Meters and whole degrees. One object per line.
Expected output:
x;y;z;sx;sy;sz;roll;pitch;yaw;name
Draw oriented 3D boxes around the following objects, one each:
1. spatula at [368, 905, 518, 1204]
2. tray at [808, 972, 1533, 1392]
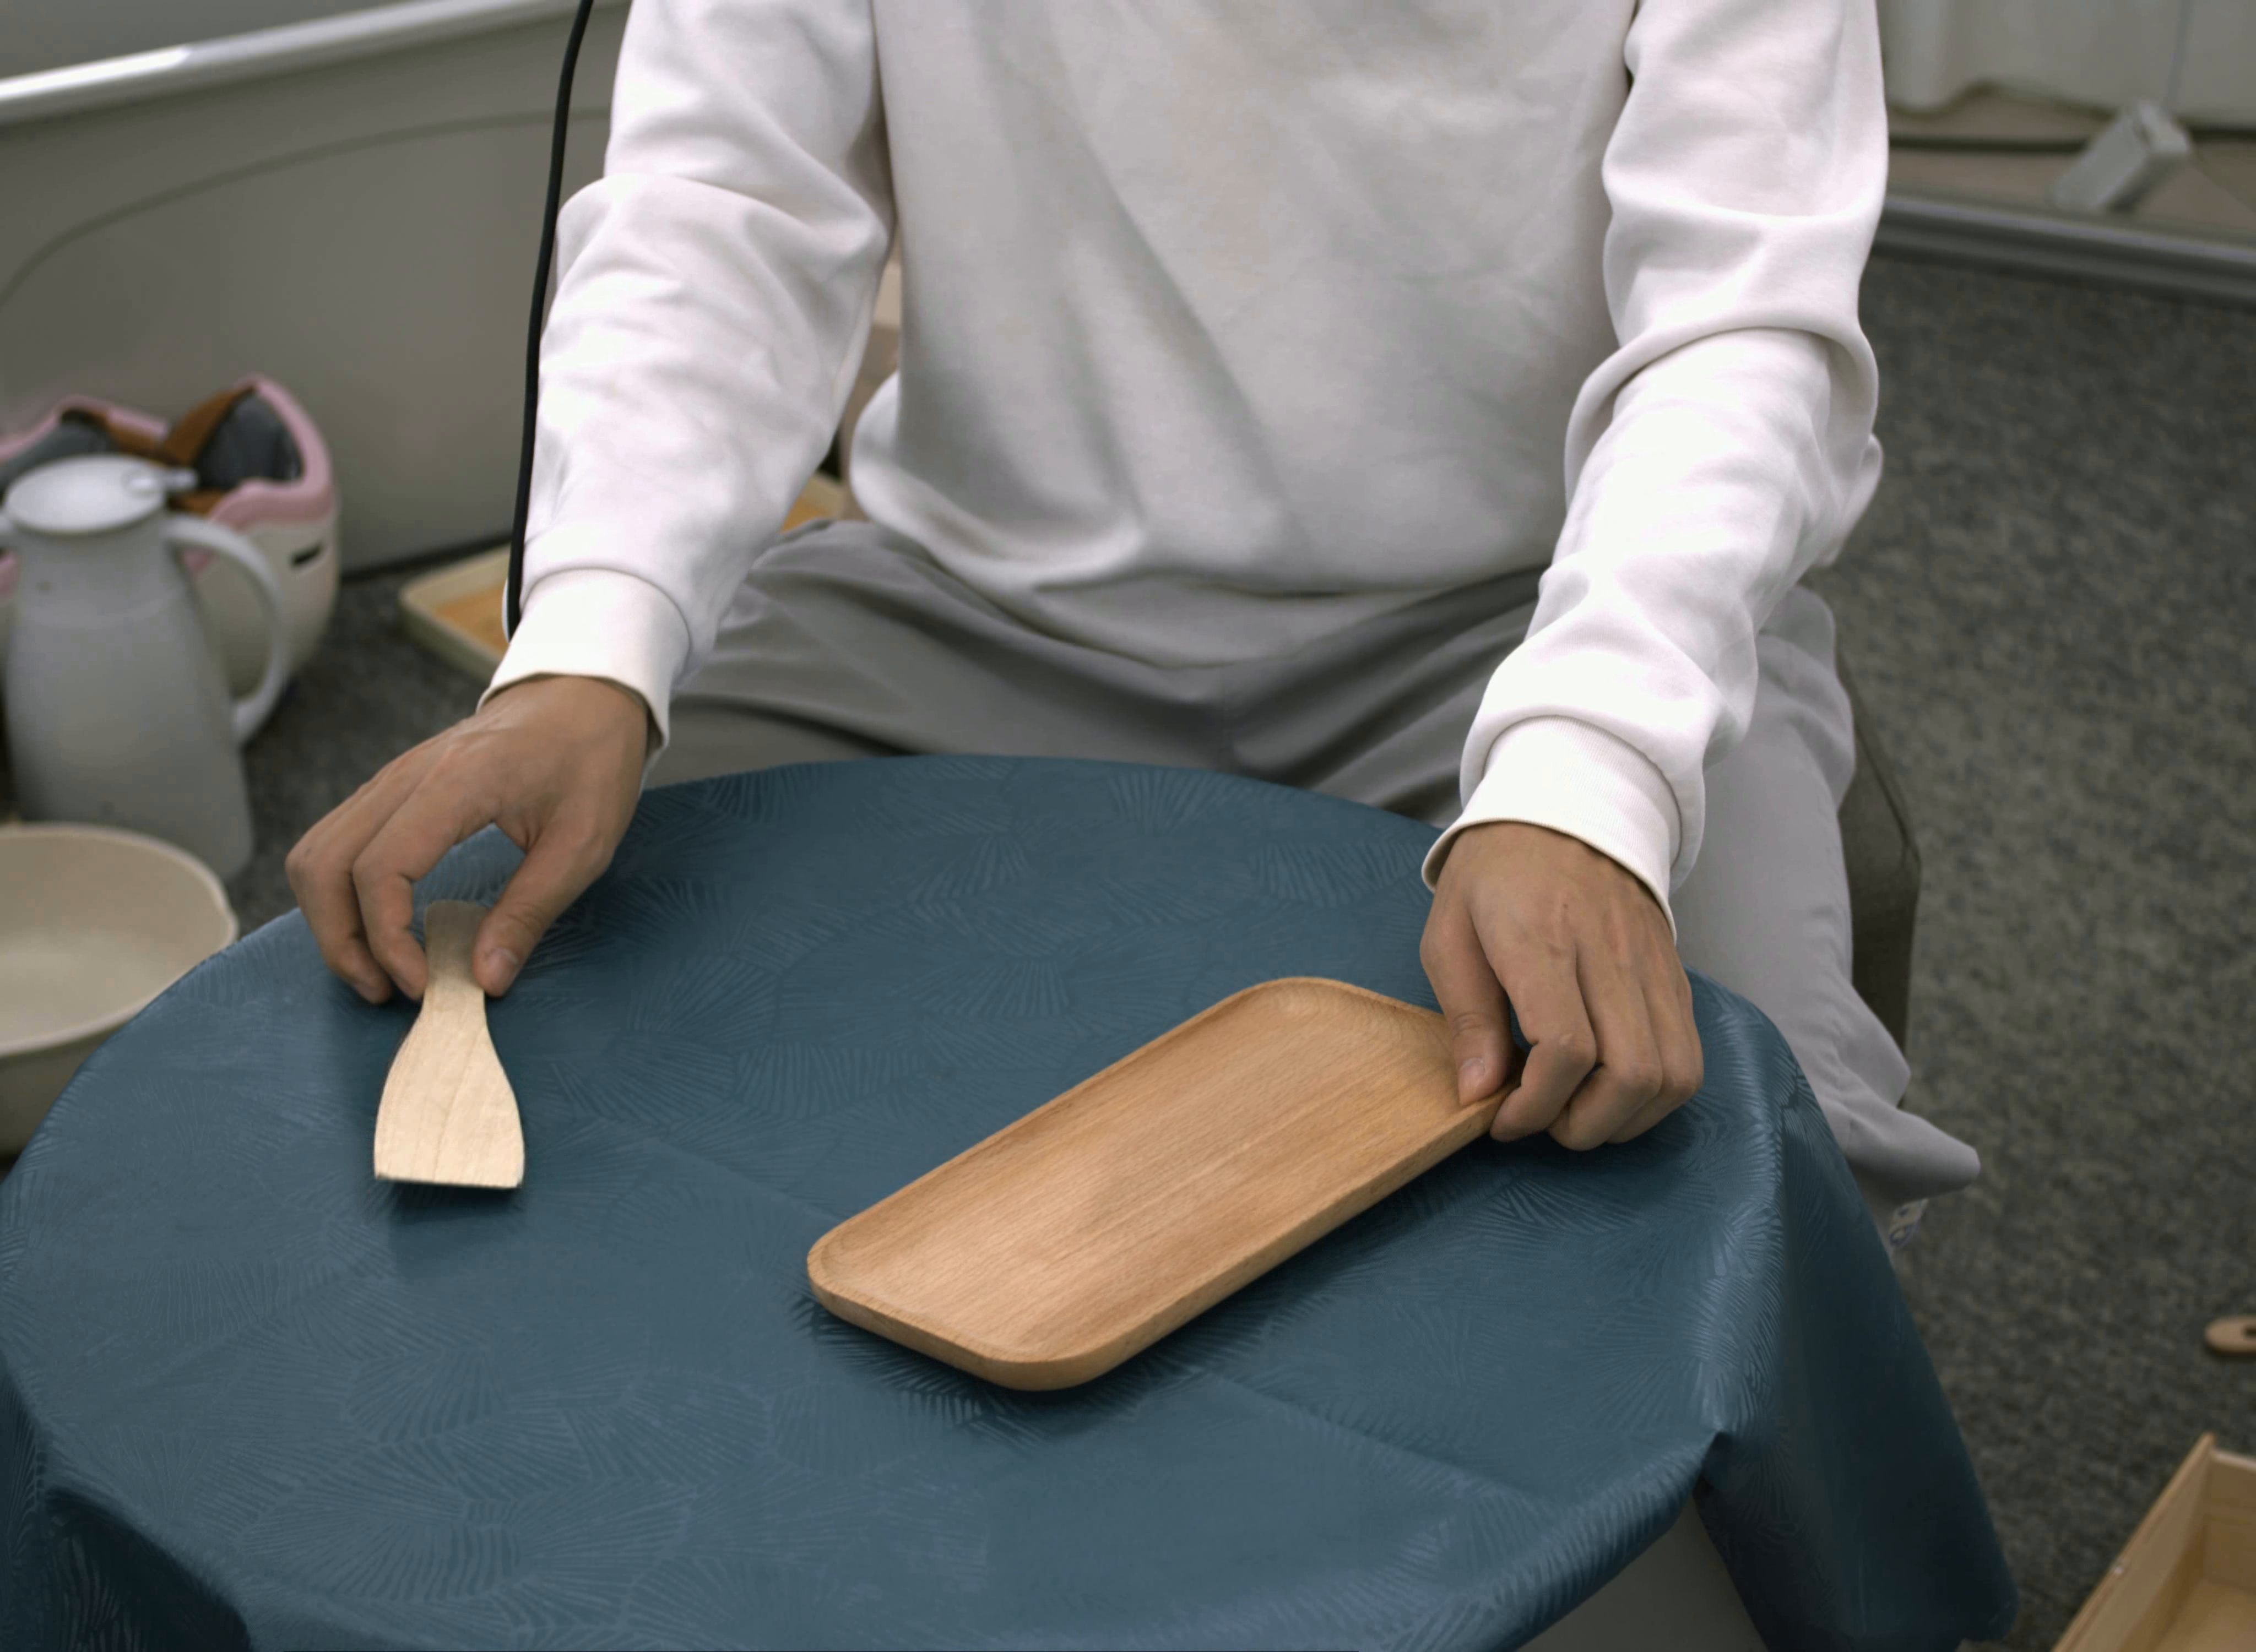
-0.234;0.077;1.954;0.050;0.005;0.211;5;26;-7;spatula
0.016;0.115;1.849;0.130;0.022;0.254;21;36;39;tray
